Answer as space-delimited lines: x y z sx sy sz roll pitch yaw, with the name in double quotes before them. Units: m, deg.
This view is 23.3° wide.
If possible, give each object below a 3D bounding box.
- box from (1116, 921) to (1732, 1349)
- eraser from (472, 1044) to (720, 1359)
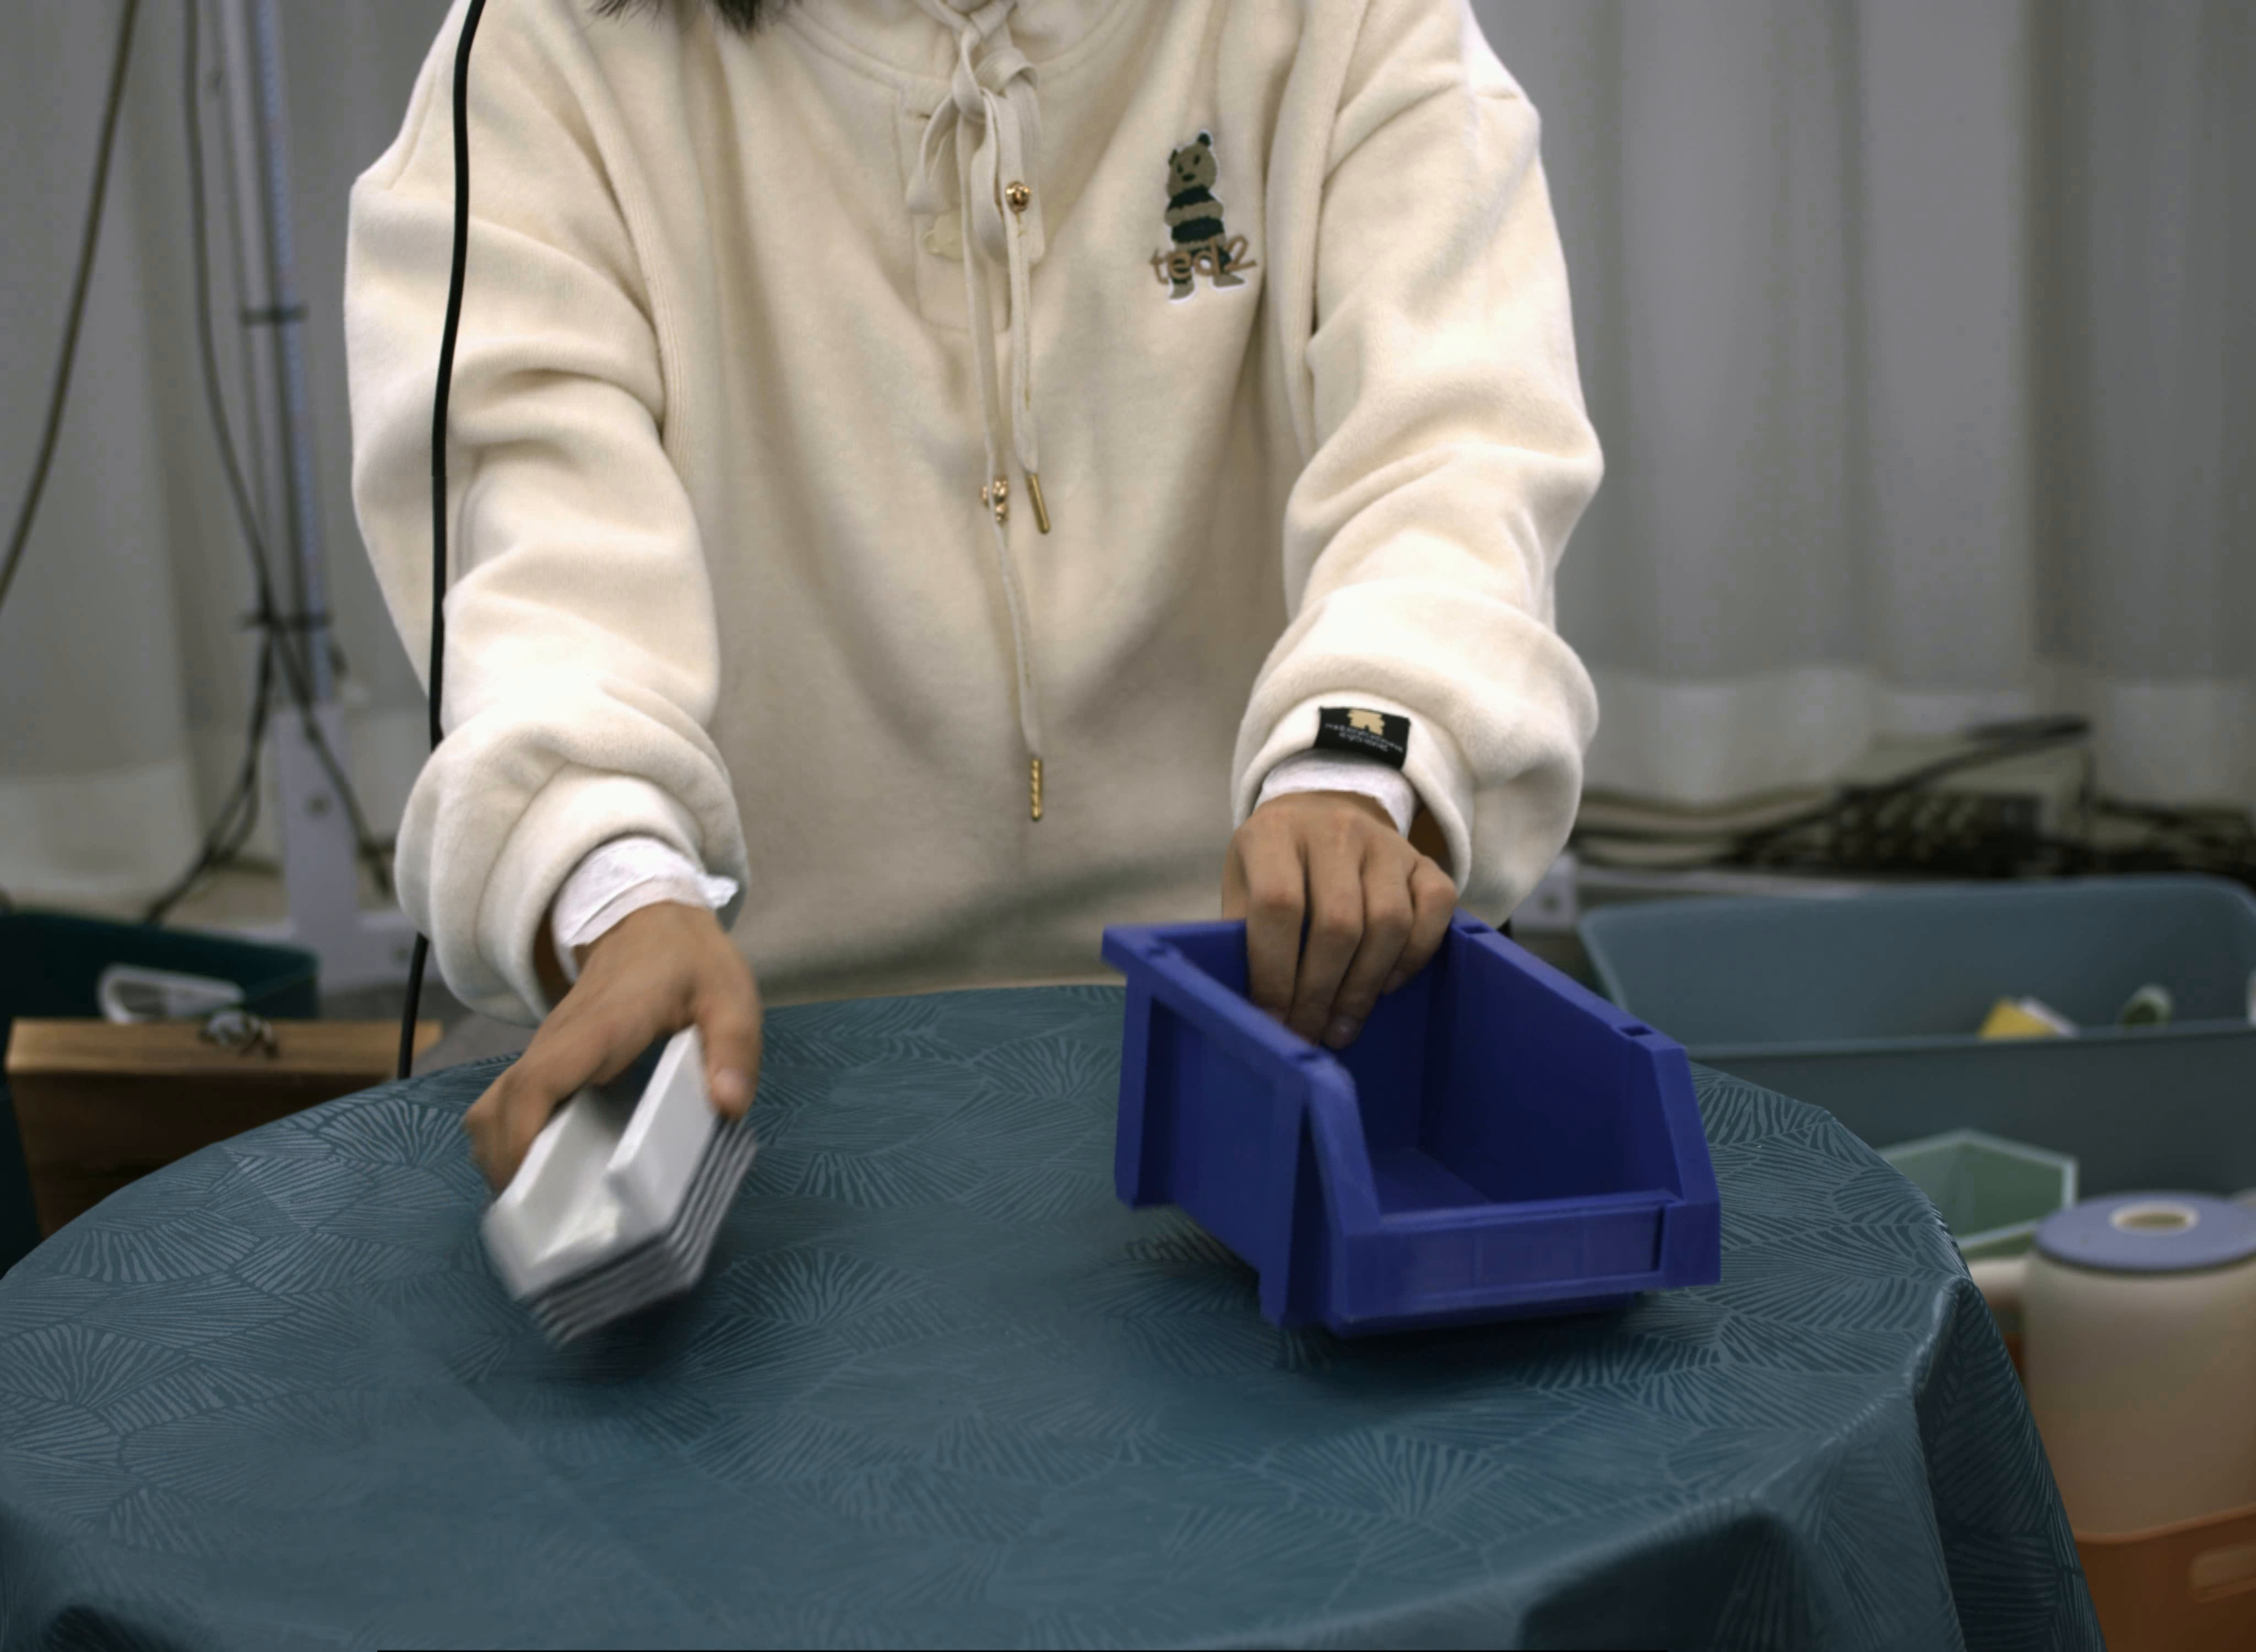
"box" 0.085 0.092 1.601 0.124 0.081 0.181 -3 14 -21
"eraser" -0.154 0.110 1.618 0.049 0.046 0.135 -27 12 8
